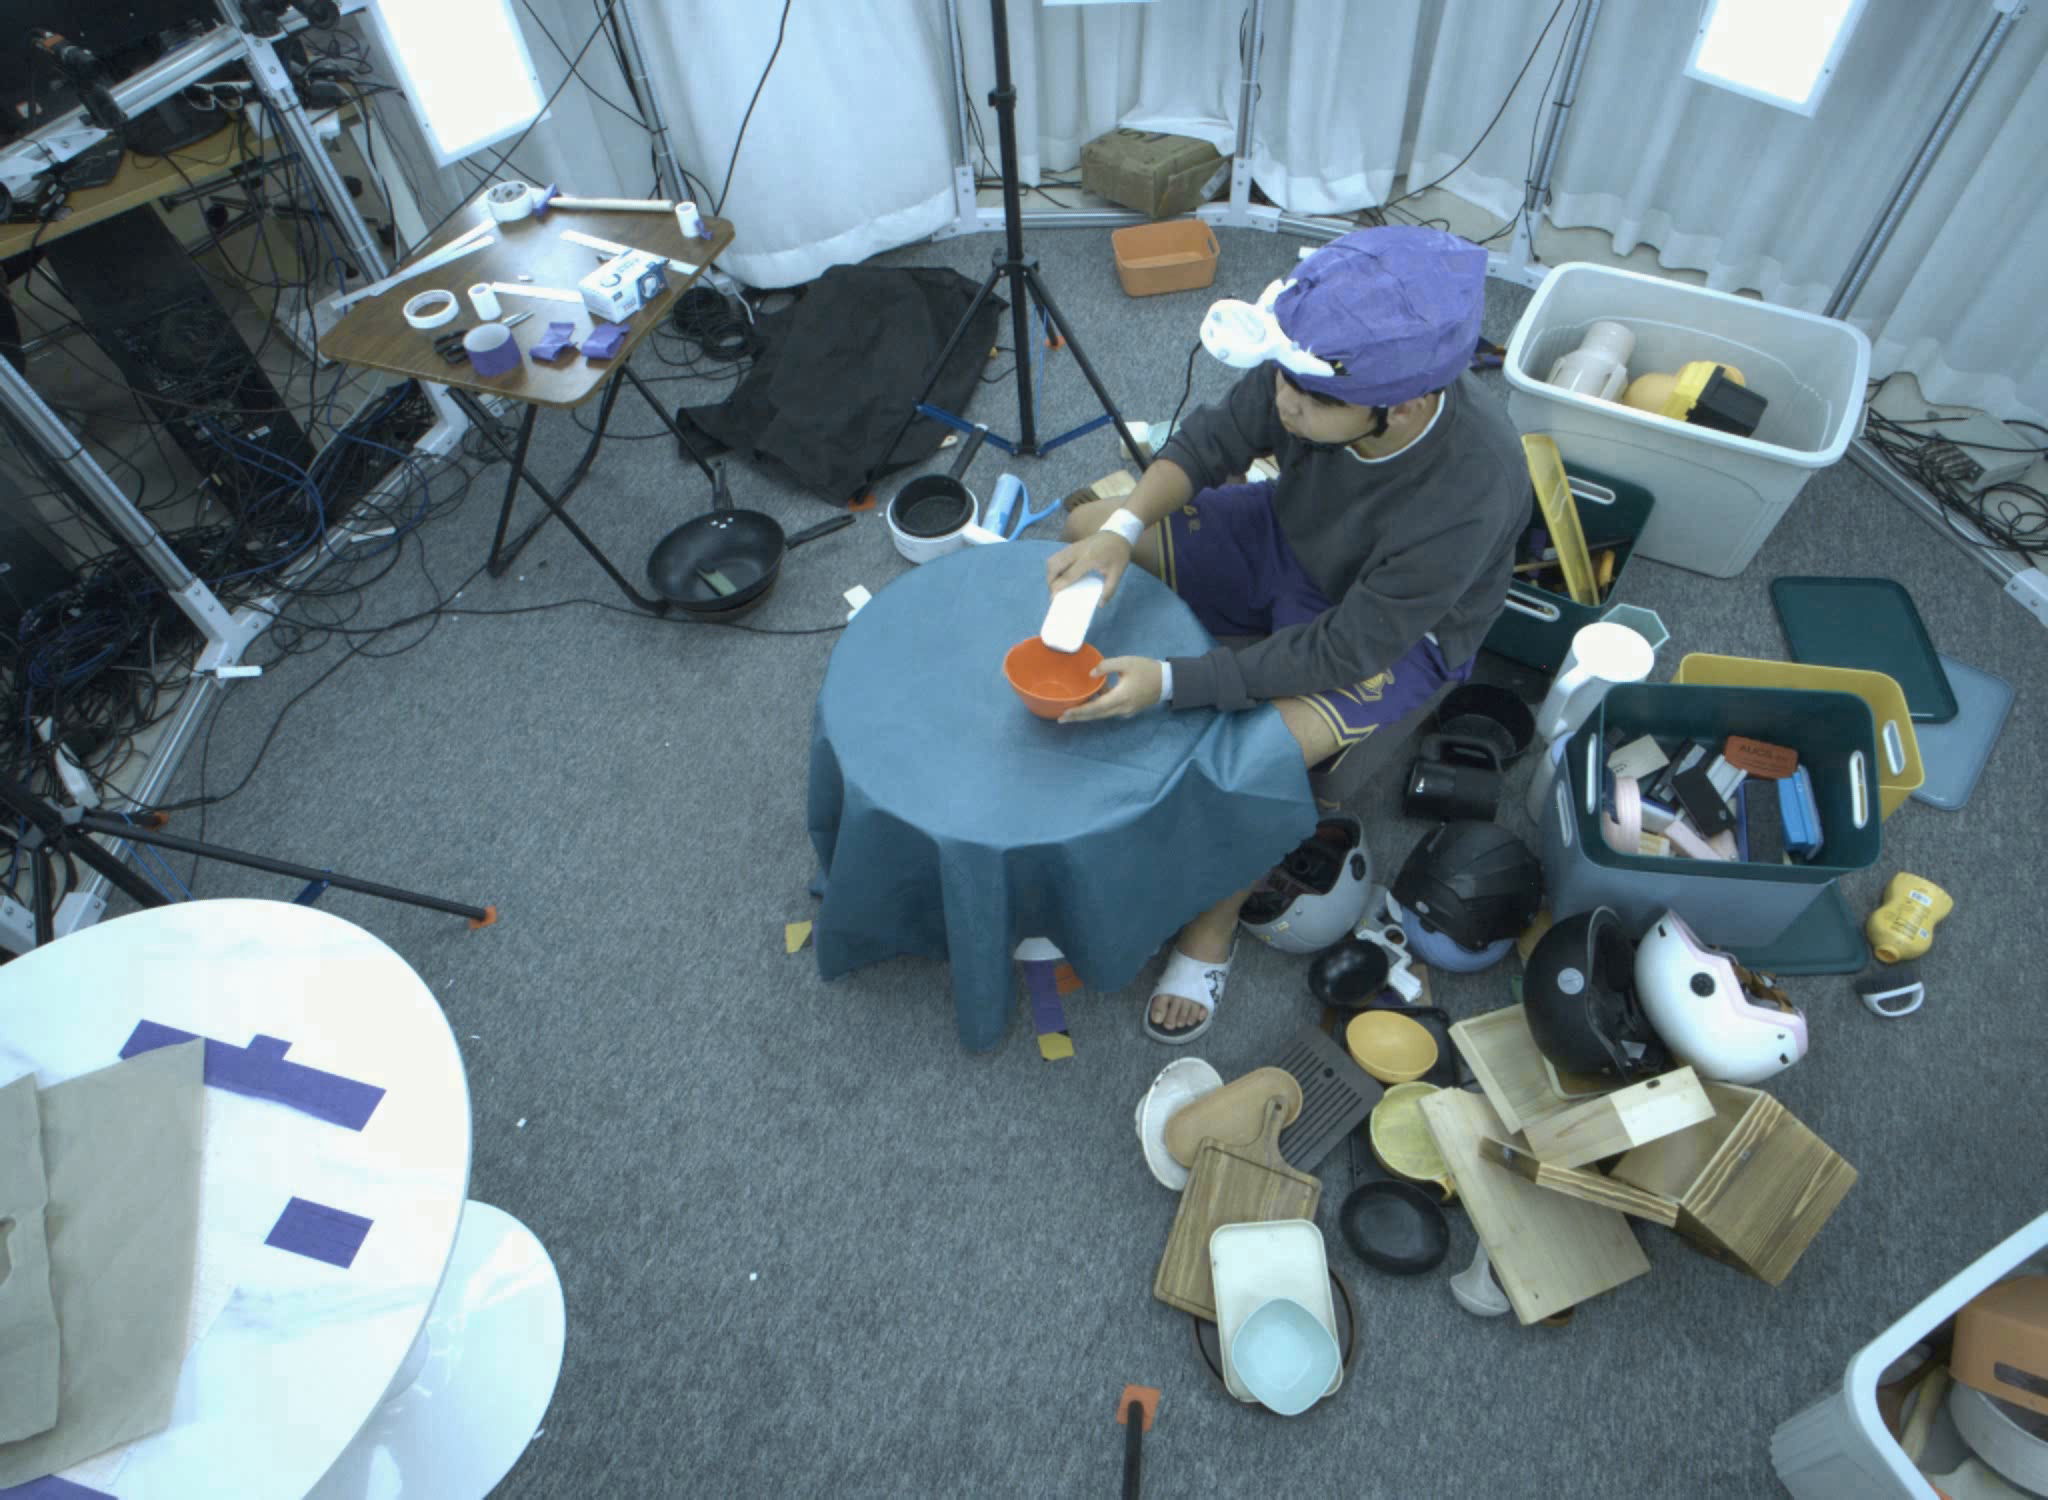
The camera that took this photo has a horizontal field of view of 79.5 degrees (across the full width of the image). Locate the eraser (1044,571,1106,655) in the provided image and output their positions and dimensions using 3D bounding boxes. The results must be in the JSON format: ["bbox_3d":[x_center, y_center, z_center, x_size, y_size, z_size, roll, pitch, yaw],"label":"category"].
[{"bbox_3d":[0.075,-0.202,1.806,0.063,0.035,0.131,19,67,7],"label":"eraser"}]

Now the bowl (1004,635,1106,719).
[{"bbox_3d":[0.041,-0.093,1.789,0.148,0.105,0.146,4,53,-4],"label":"bowl"}]
